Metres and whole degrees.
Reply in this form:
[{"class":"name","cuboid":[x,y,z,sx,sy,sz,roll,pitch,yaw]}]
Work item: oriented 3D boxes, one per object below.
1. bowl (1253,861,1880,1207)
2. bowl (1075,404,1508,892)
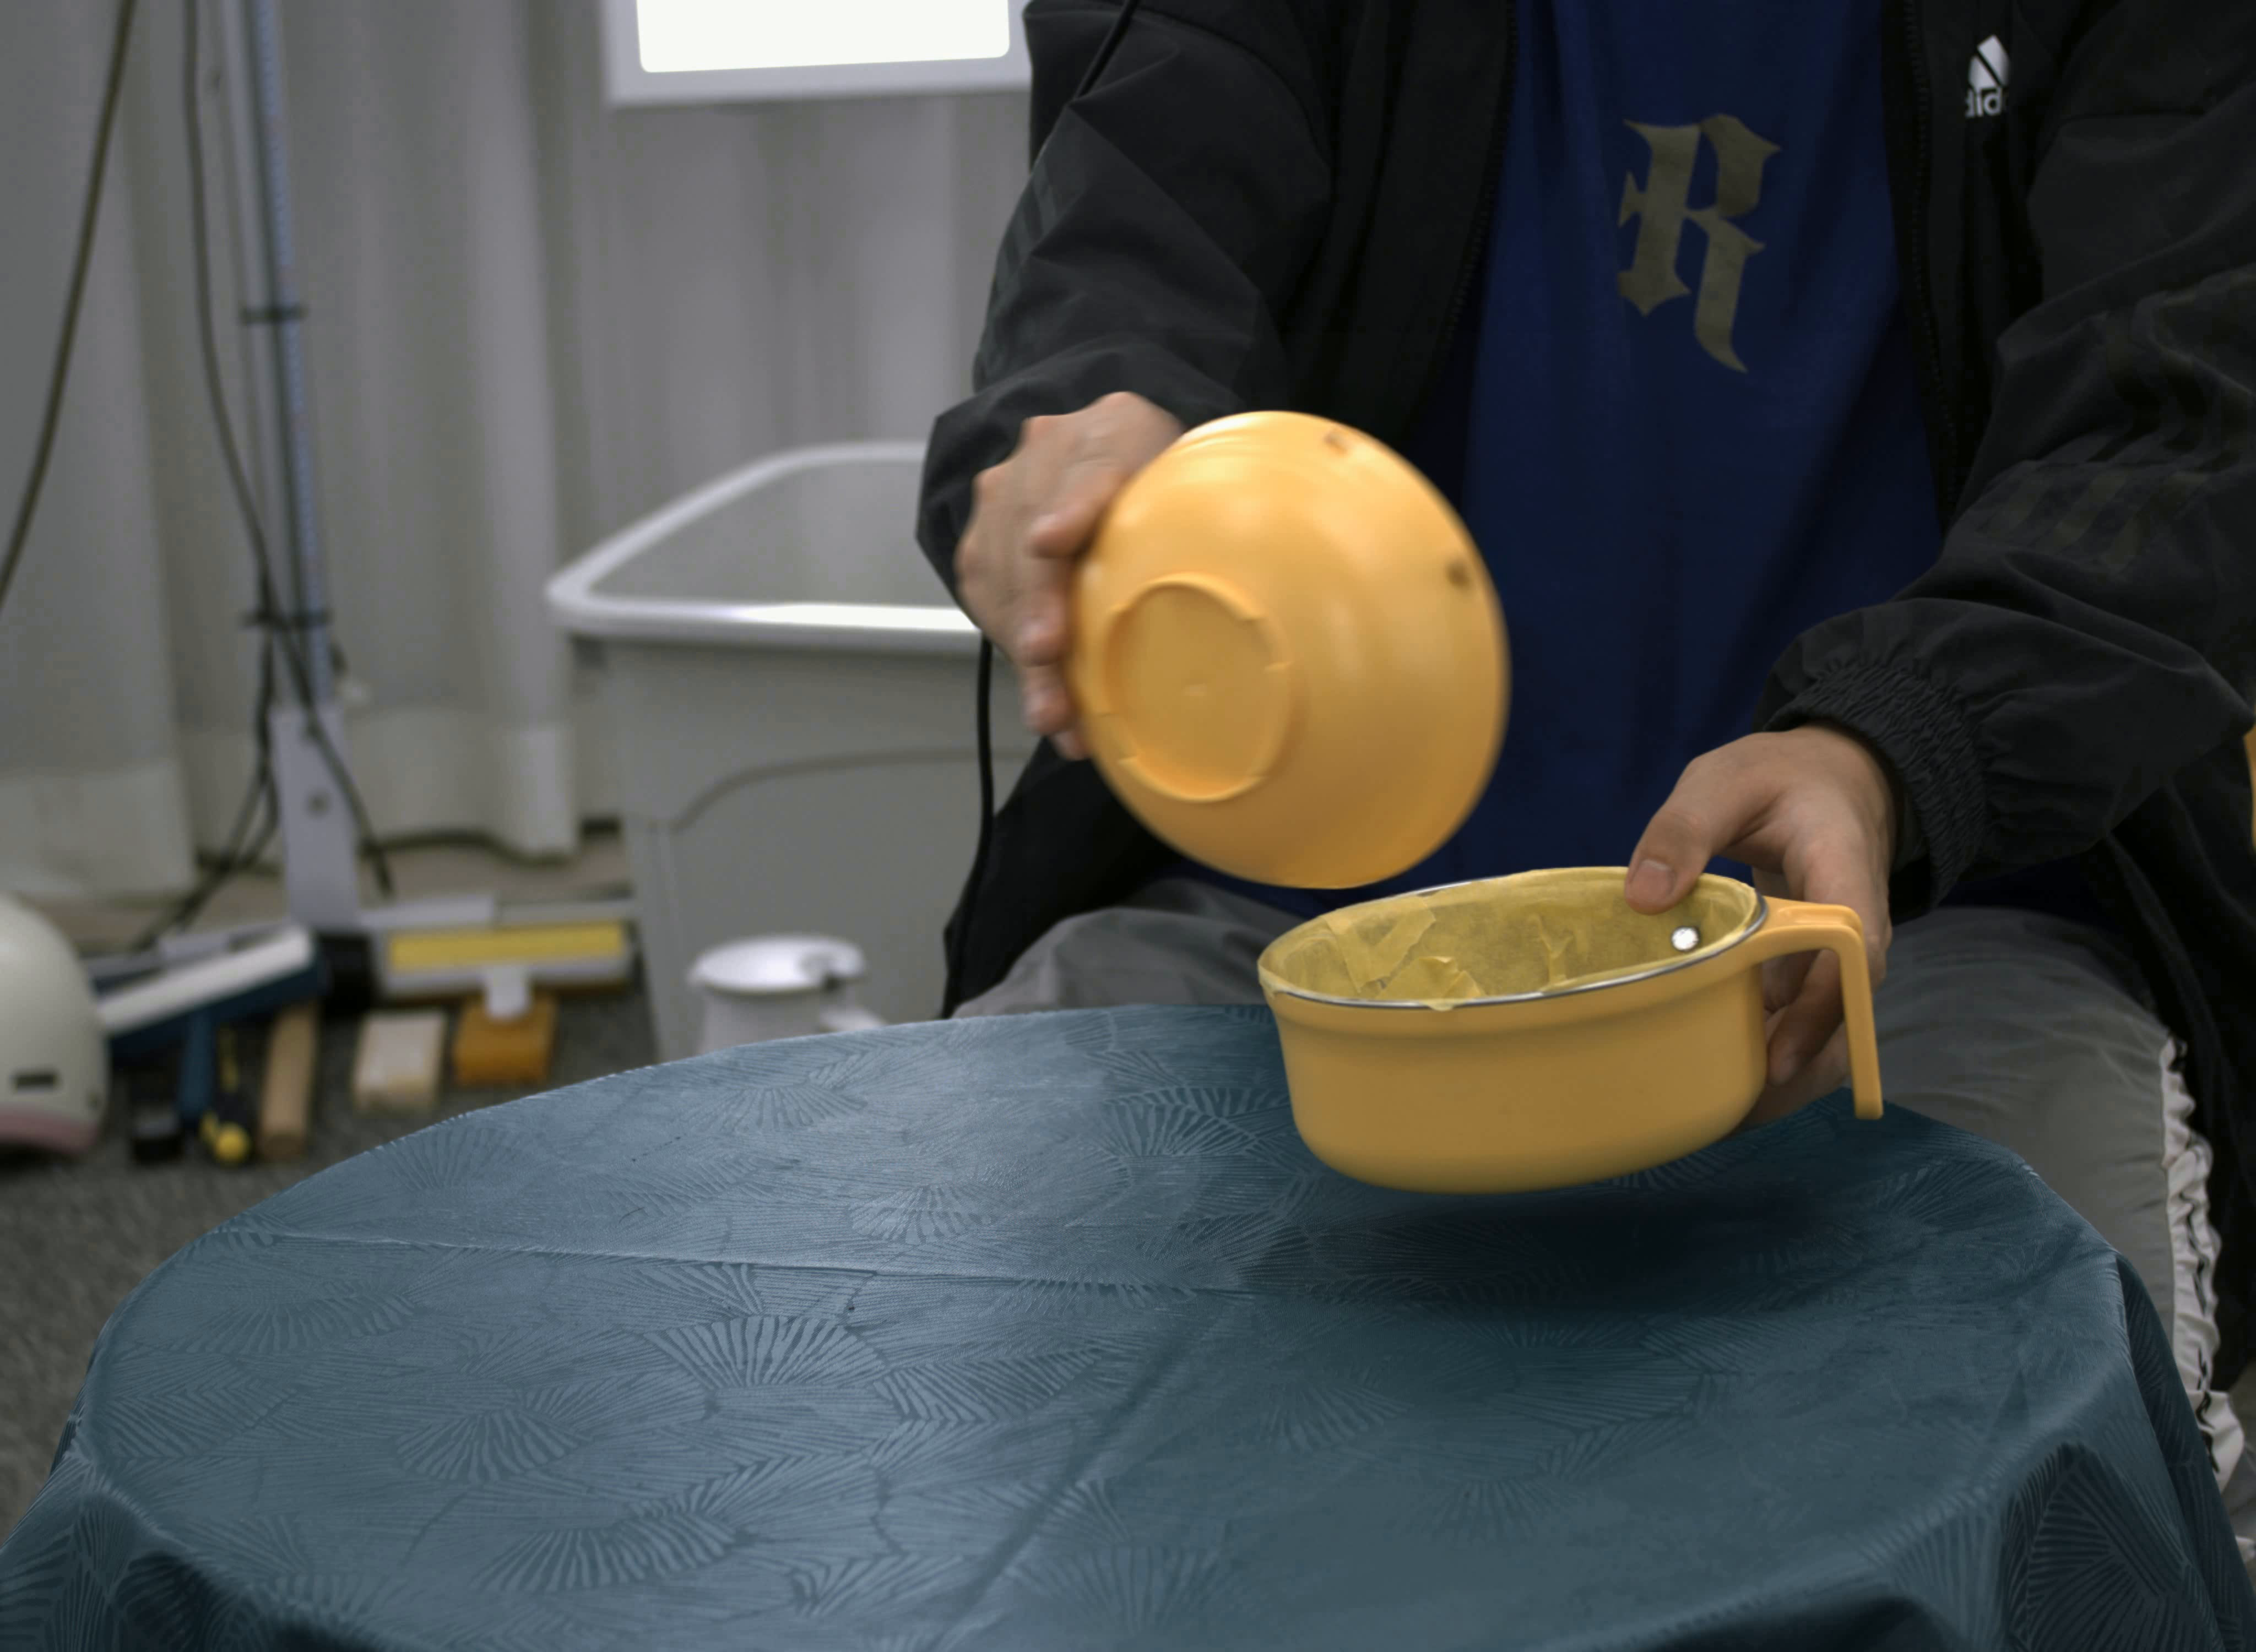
[{"class":"bowl","cuboid":[0.130,0.062,1.615,0.179,0.074,0.153,-8,11,6]},{"class":"bowl","cuboid":[0.035,-0.047,1.591,0.146,0.145,0.060,8,13,34]}]
